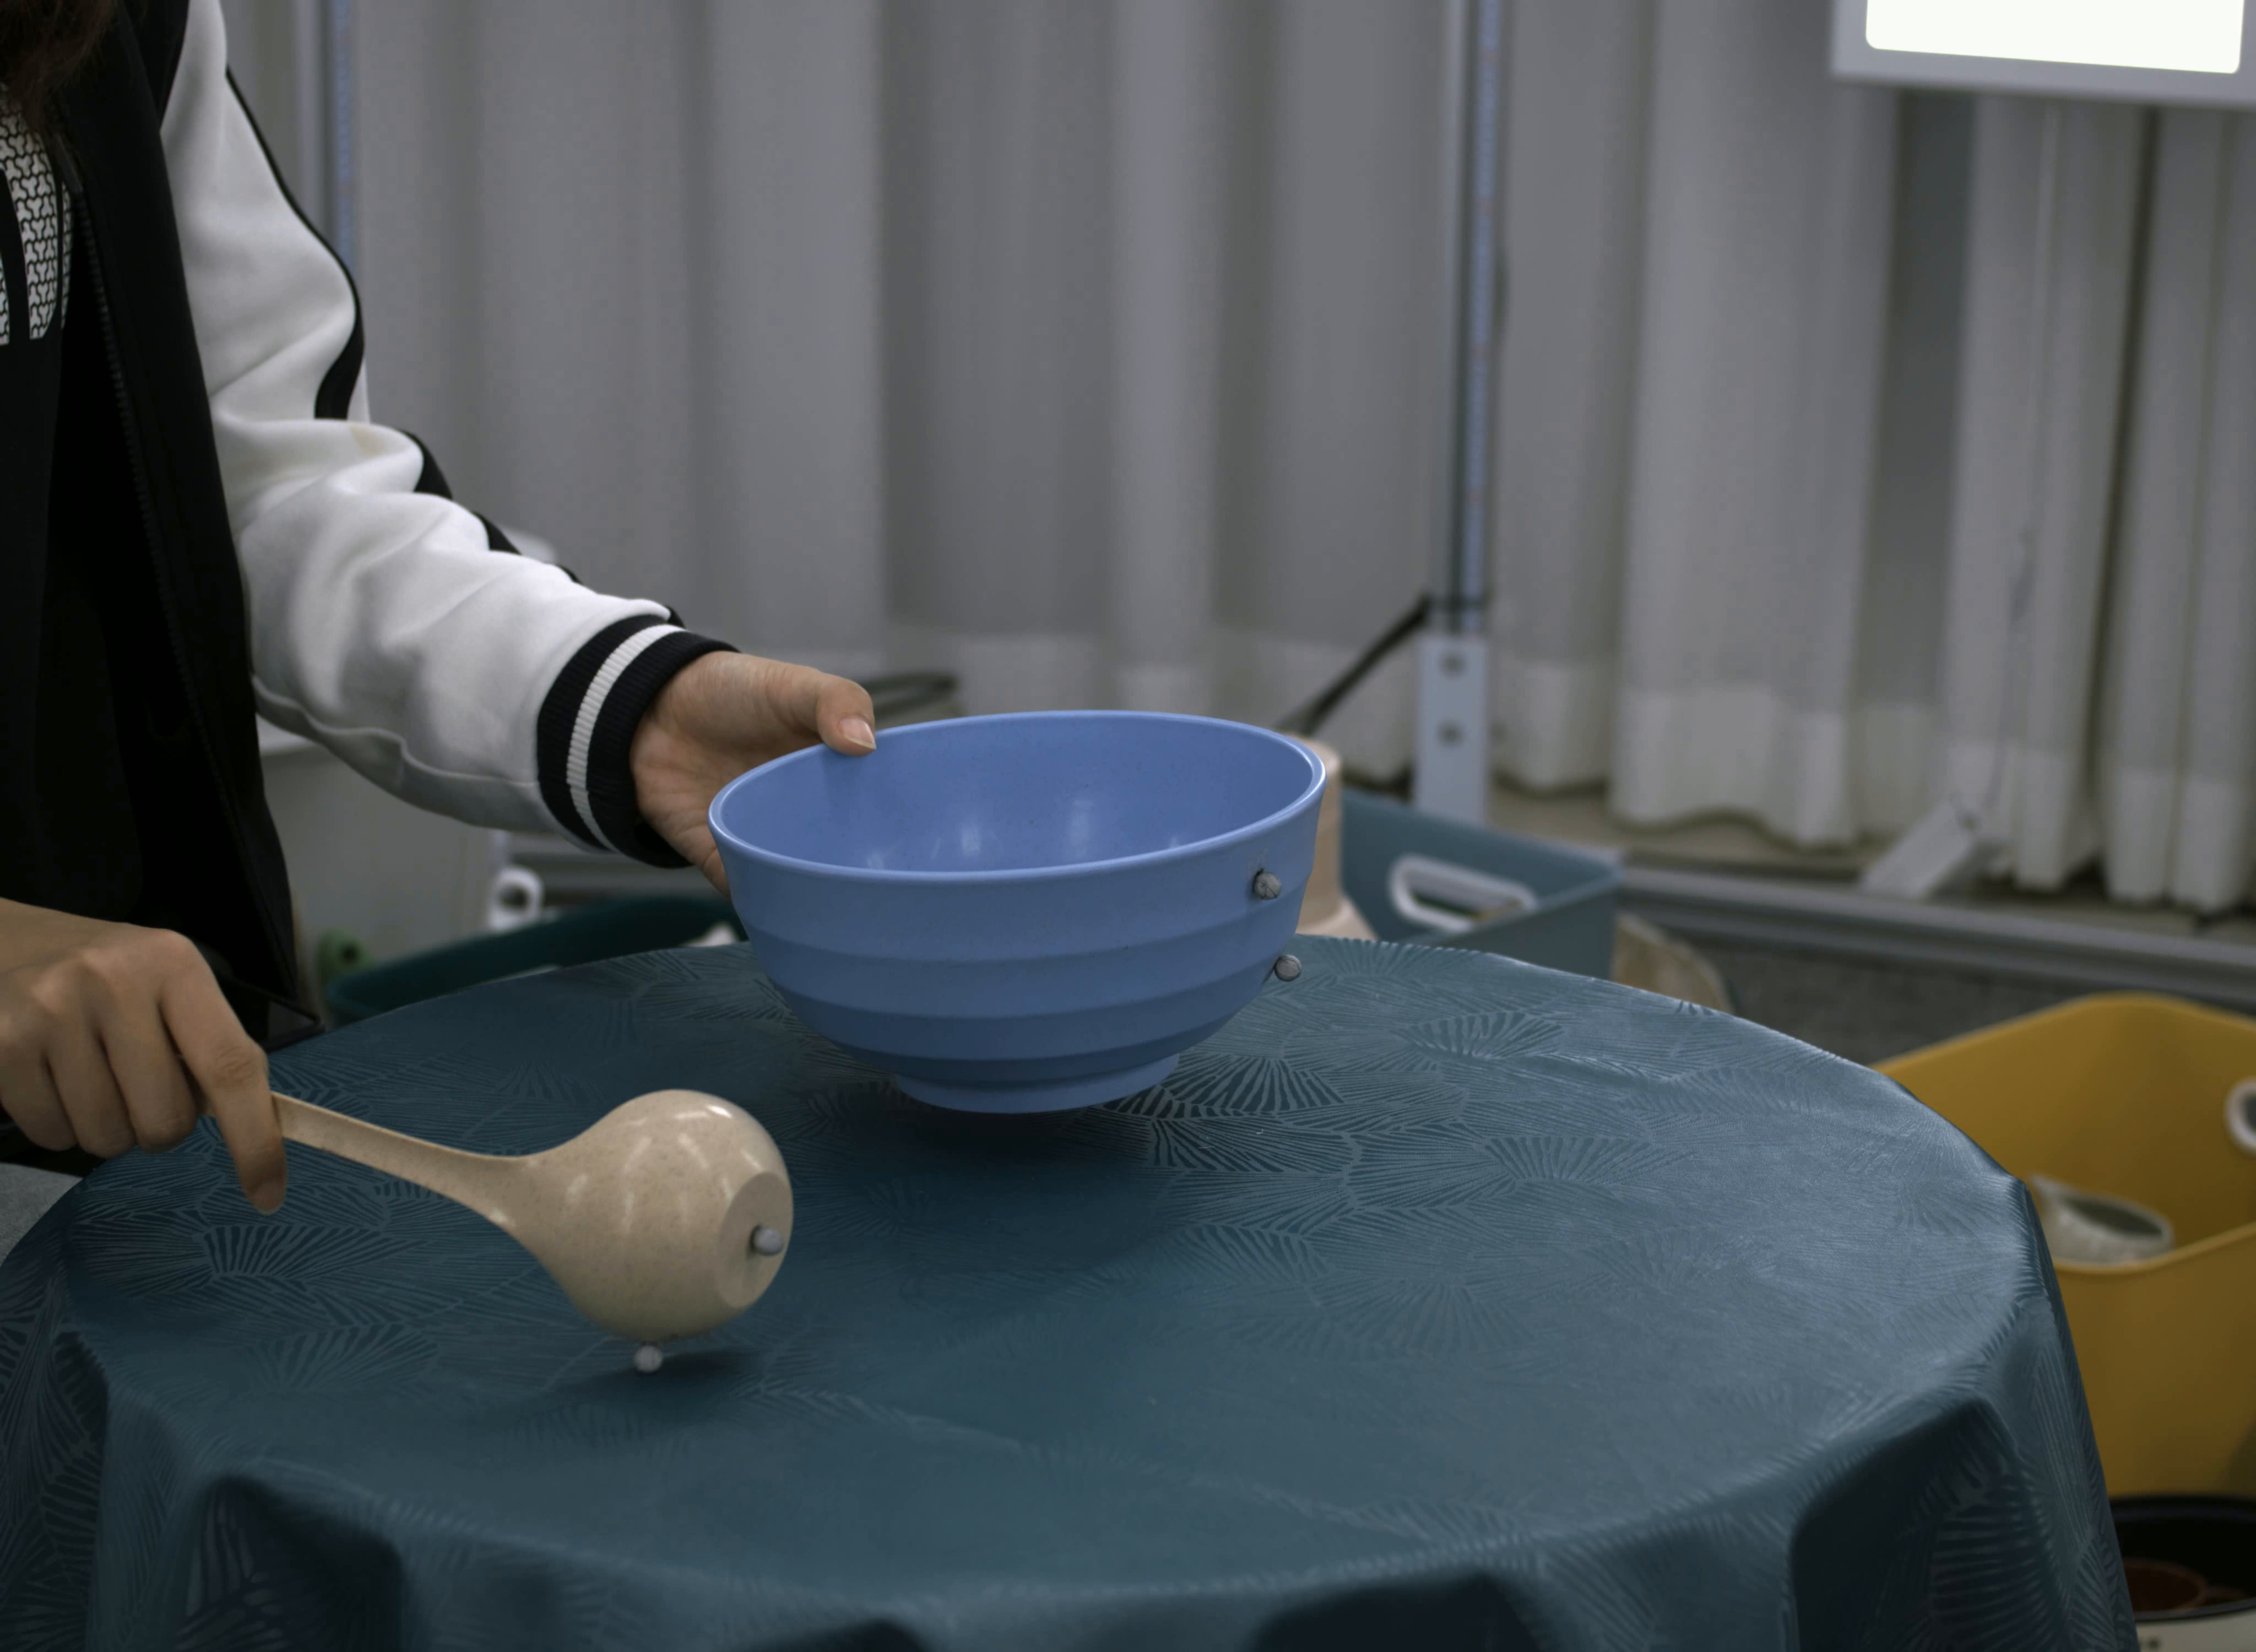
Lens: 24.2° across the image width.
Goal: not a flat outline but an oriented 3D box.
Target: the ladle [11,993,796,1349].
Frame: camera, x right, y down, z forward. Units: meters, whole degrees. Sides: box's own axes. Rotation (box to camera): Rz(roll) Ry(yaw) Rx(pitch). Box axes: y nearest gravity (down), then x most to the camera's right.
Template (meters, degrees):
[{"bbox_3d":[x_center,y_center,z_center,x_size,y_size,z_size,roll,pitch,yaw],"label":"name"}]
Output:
[{"bbox_3d":[-0.208,0.088,1.521,0.251,0.072,0.073,16,4,31],"label":"ladle"}]

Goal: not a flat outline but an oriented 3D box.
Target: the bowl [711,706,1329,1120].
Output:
[{"bbox_3d":[-0.031,0.034,1.675,0.196,0.096,0.195,-3,17,2],"label":"bowl"}]
